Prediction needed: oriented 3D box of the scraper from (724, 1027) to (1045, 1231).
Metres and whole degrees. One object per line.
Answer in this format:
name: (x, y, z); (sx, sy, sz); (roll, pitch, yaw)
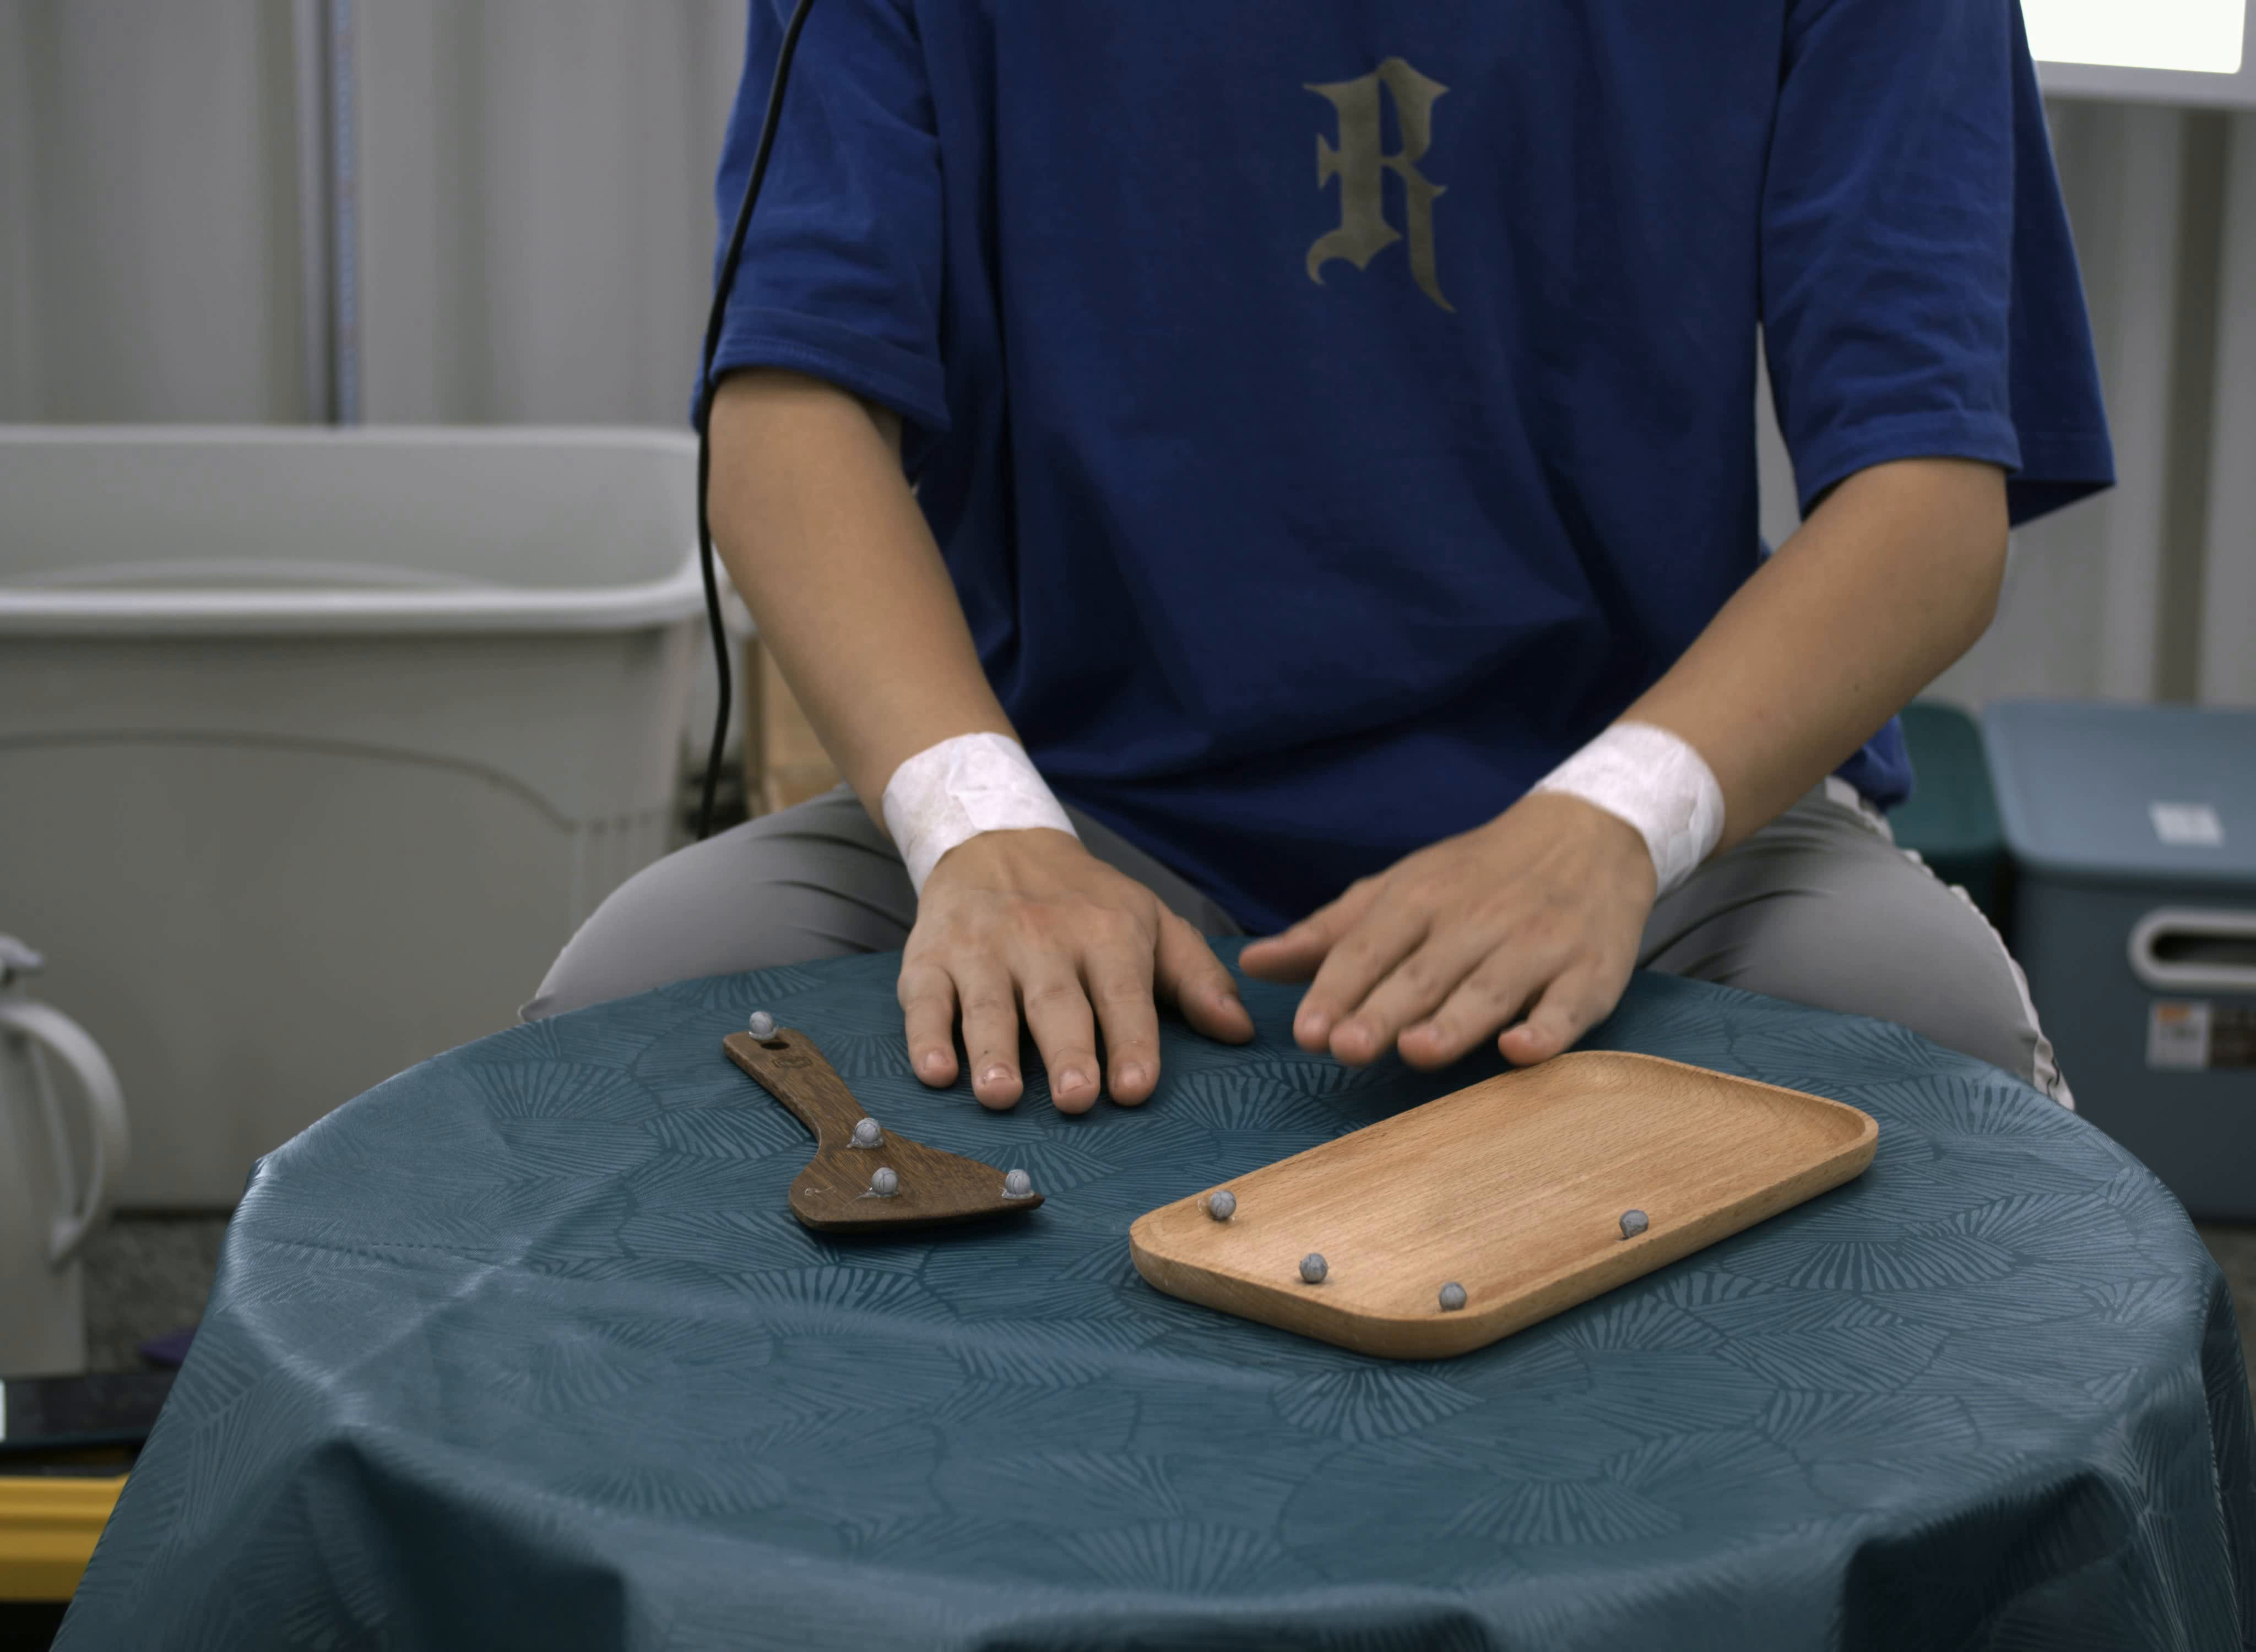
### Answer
scraper: (-0.090, 0.095, 1.666); (0.076, 0.011, 0.209); (-4, 15, -18)

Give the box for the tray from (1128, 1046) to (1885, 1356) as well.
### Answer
tray: (0.118, 0.111, 1.599); (0.129, 0.023, 0.252); (17, 21, 38)
